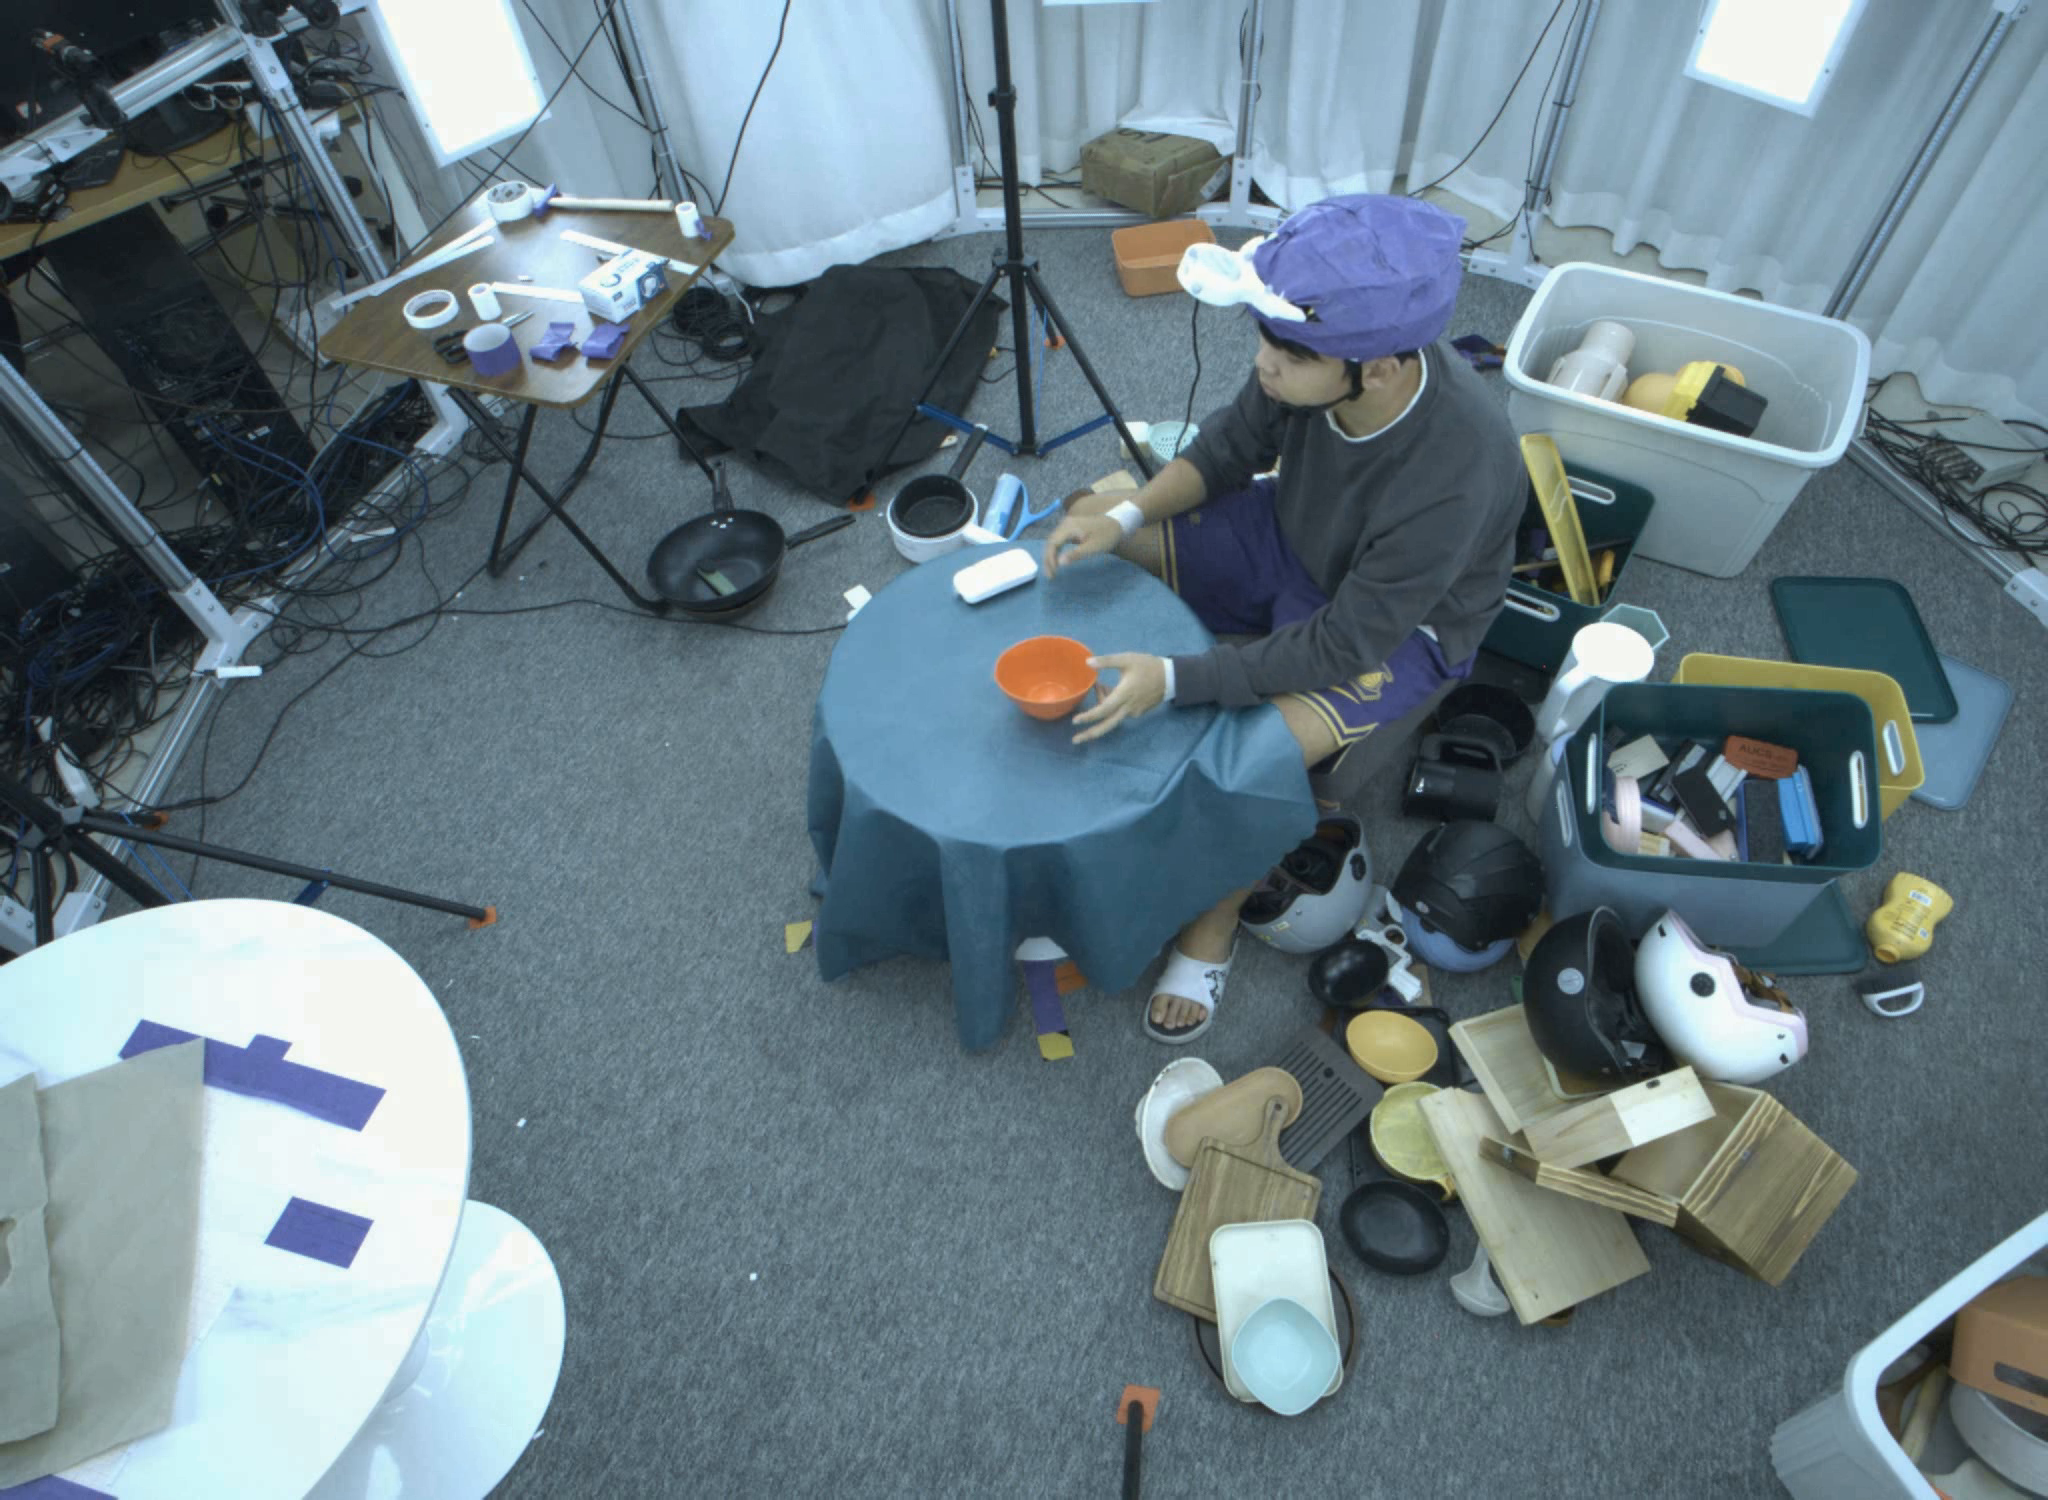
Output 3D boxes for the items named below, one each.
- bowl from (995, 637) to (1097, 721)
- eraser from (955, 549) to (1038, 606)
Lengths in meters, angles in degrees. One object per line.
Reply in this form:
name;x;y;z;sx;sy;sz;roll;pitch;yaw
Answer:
bowl;0.034;-0.090;1.792;0.148;0.106;0.146;-1;53;2
eraser;-0.044;-0.277;1.969;0.132;0.035;0.062;-24;58;-12
